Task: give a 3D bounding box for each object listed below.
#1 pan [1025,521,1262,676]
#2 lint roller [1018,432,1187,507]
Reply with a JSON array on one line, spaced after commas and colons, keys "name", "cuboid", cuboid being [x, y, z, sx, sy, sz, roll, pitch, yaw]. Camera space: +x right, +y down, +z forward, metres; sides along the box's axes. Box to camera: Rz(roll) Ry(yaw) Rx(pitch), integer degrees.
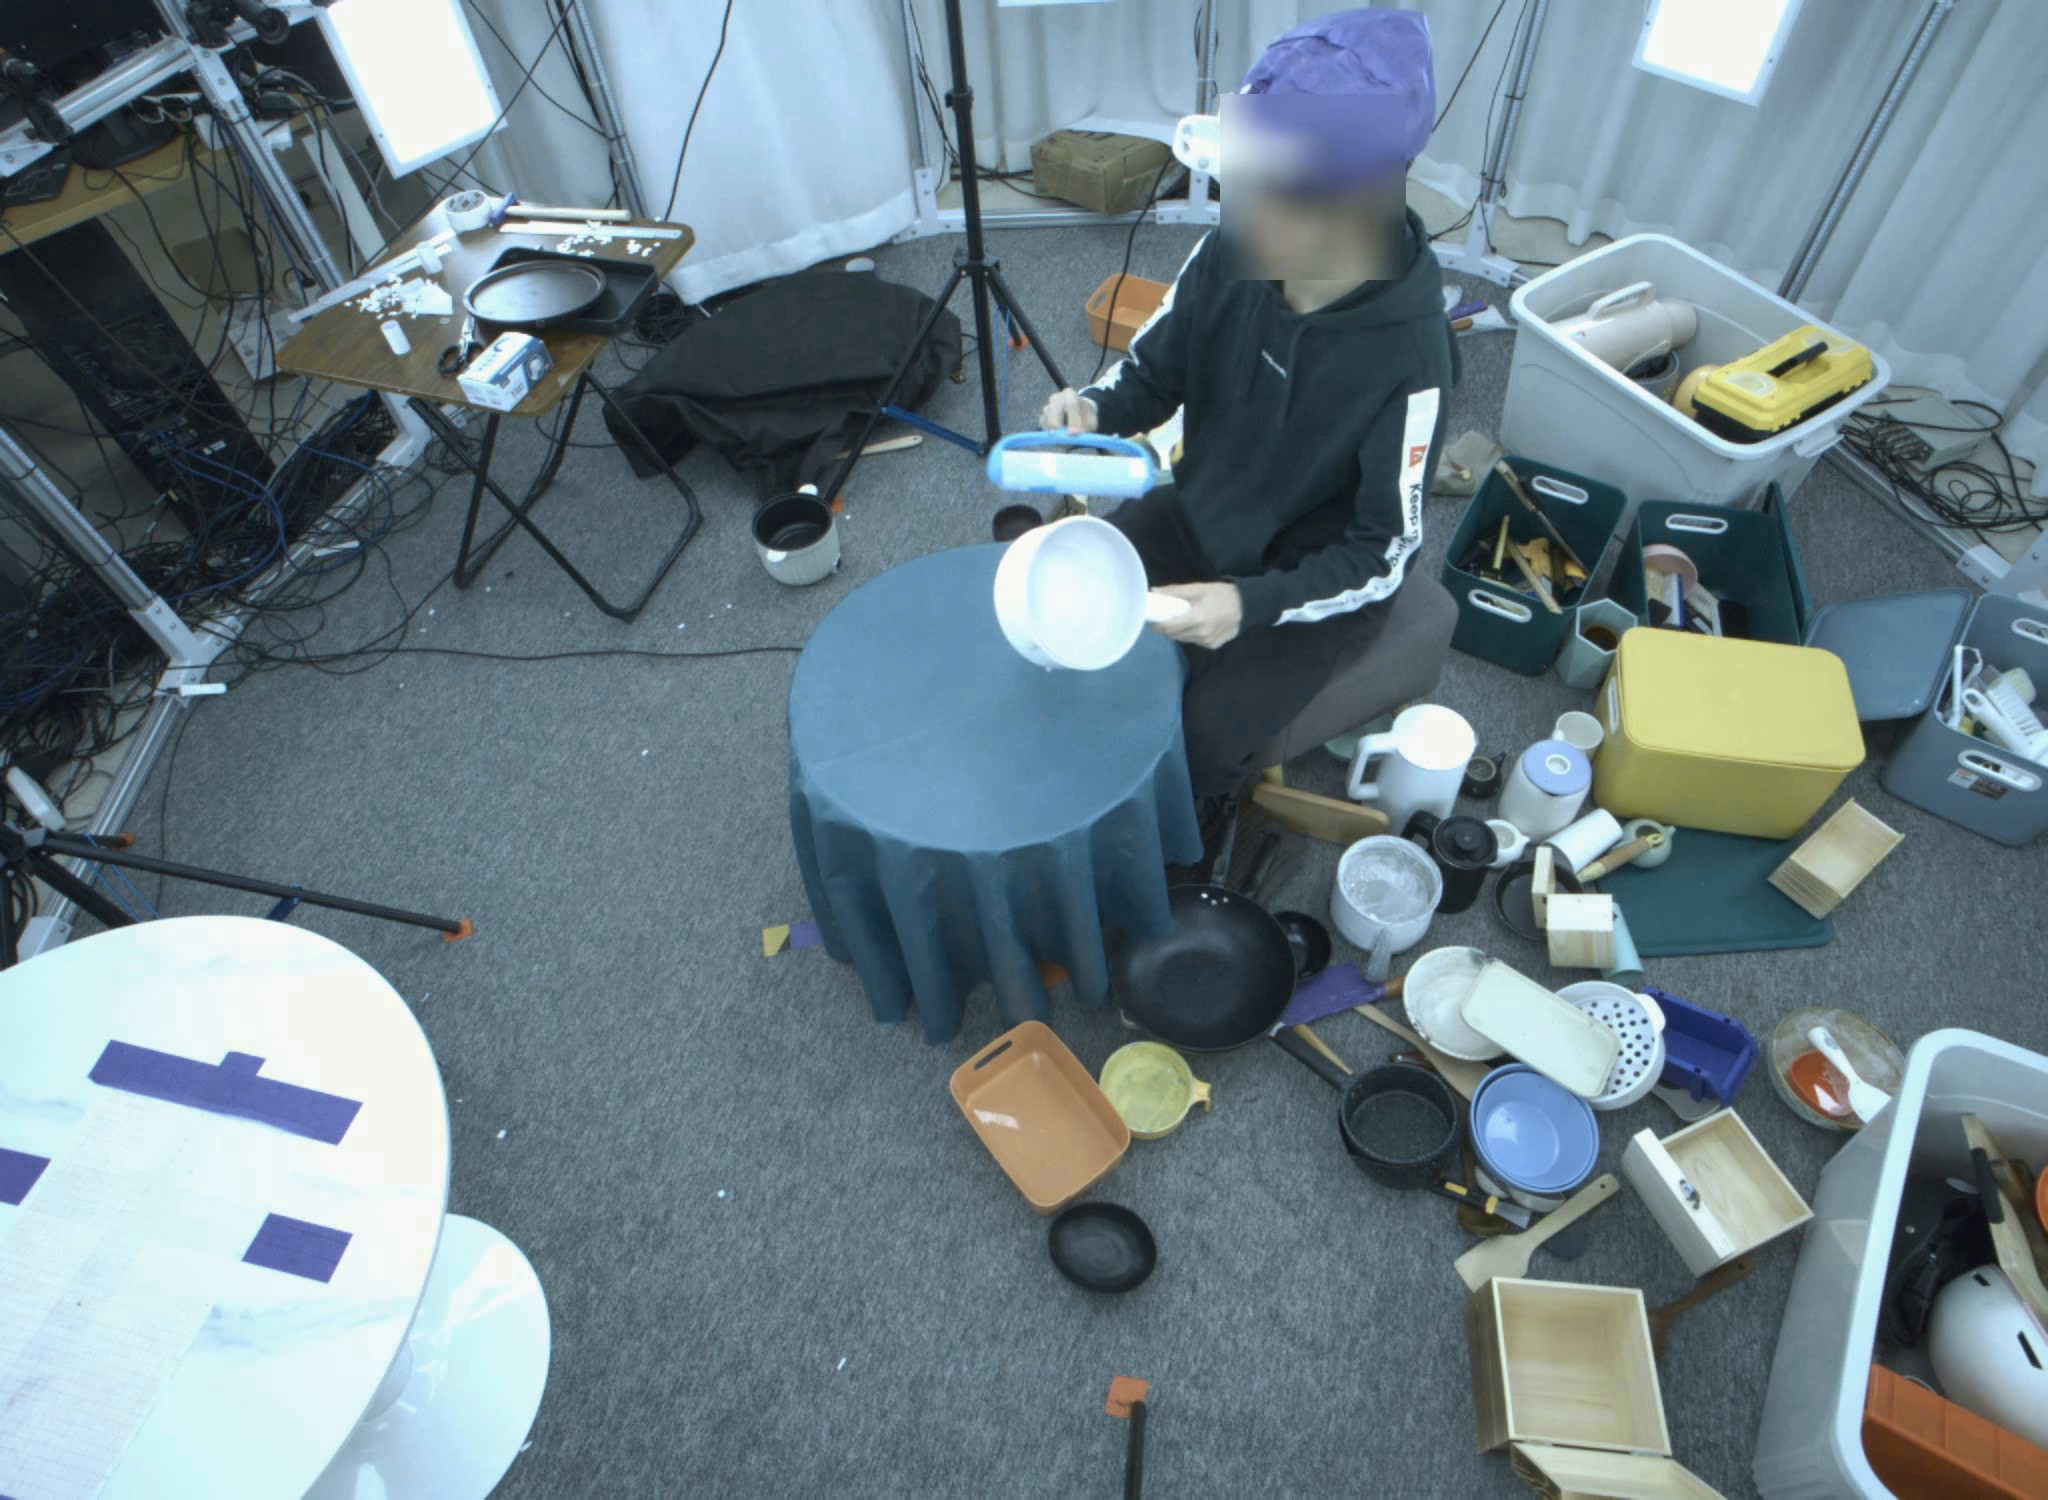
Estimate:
[{"name": "pan", "cuboid": [0.162, -0.190, 1.675, 0.362, 0.100, 0.201, 7, 88, -34]}, {"name": "lint roller", "cuboid": [0.104, -0.405, 1.679, 0.230, 0.068, 0.178, 3, 44, -7]}]
